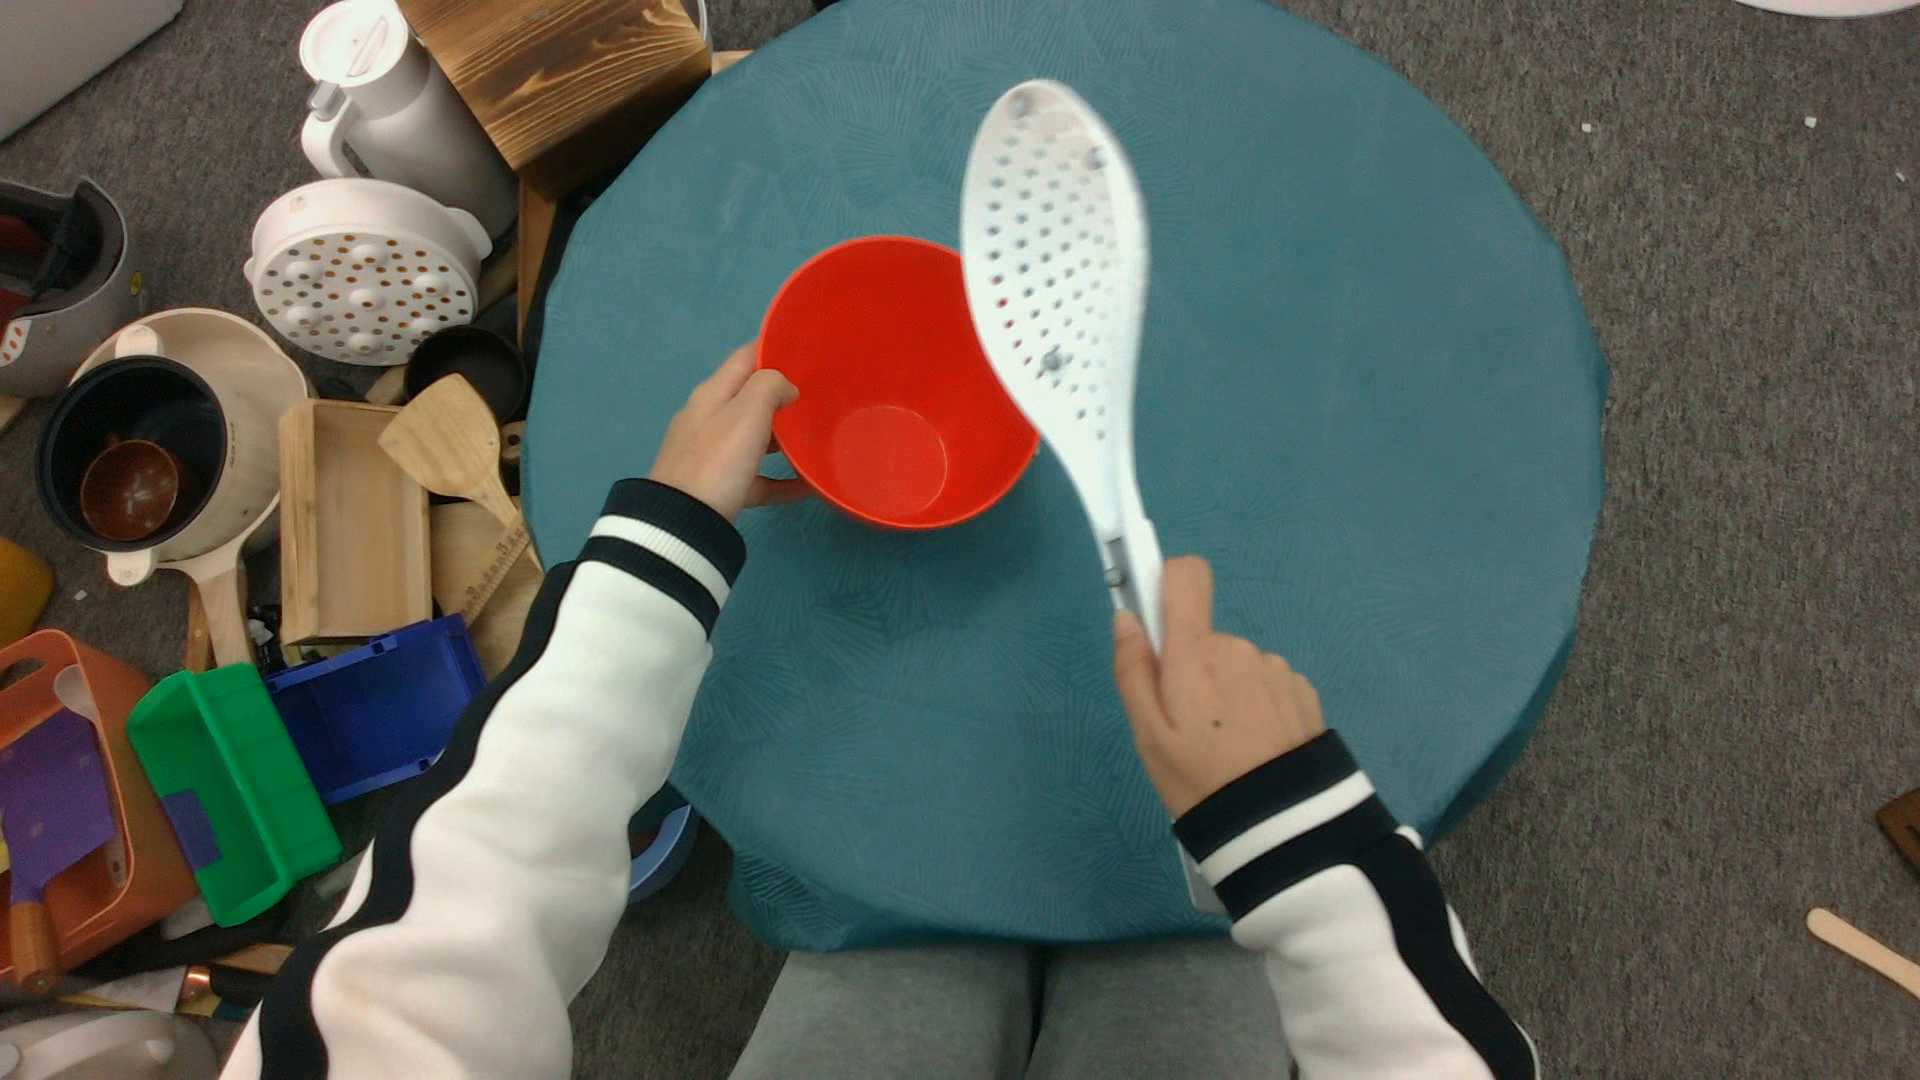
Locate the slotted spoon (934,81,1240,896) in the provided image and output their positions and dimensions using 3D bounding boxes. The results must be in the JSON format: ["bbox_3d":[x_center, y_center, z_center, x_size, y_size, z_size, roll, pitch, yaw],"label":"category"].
[{"bbox_3d":[0.055,-0.023,0.578,0.046,0.135,0.350,-9,82,-20],"label":"slotted spoon"}]

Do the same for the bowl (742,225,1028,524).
[{"bbox_3d":[-0.044,-0.072,0.712,0.148,0.104,0.148,5,70,-15],"label":"bowl"}]
